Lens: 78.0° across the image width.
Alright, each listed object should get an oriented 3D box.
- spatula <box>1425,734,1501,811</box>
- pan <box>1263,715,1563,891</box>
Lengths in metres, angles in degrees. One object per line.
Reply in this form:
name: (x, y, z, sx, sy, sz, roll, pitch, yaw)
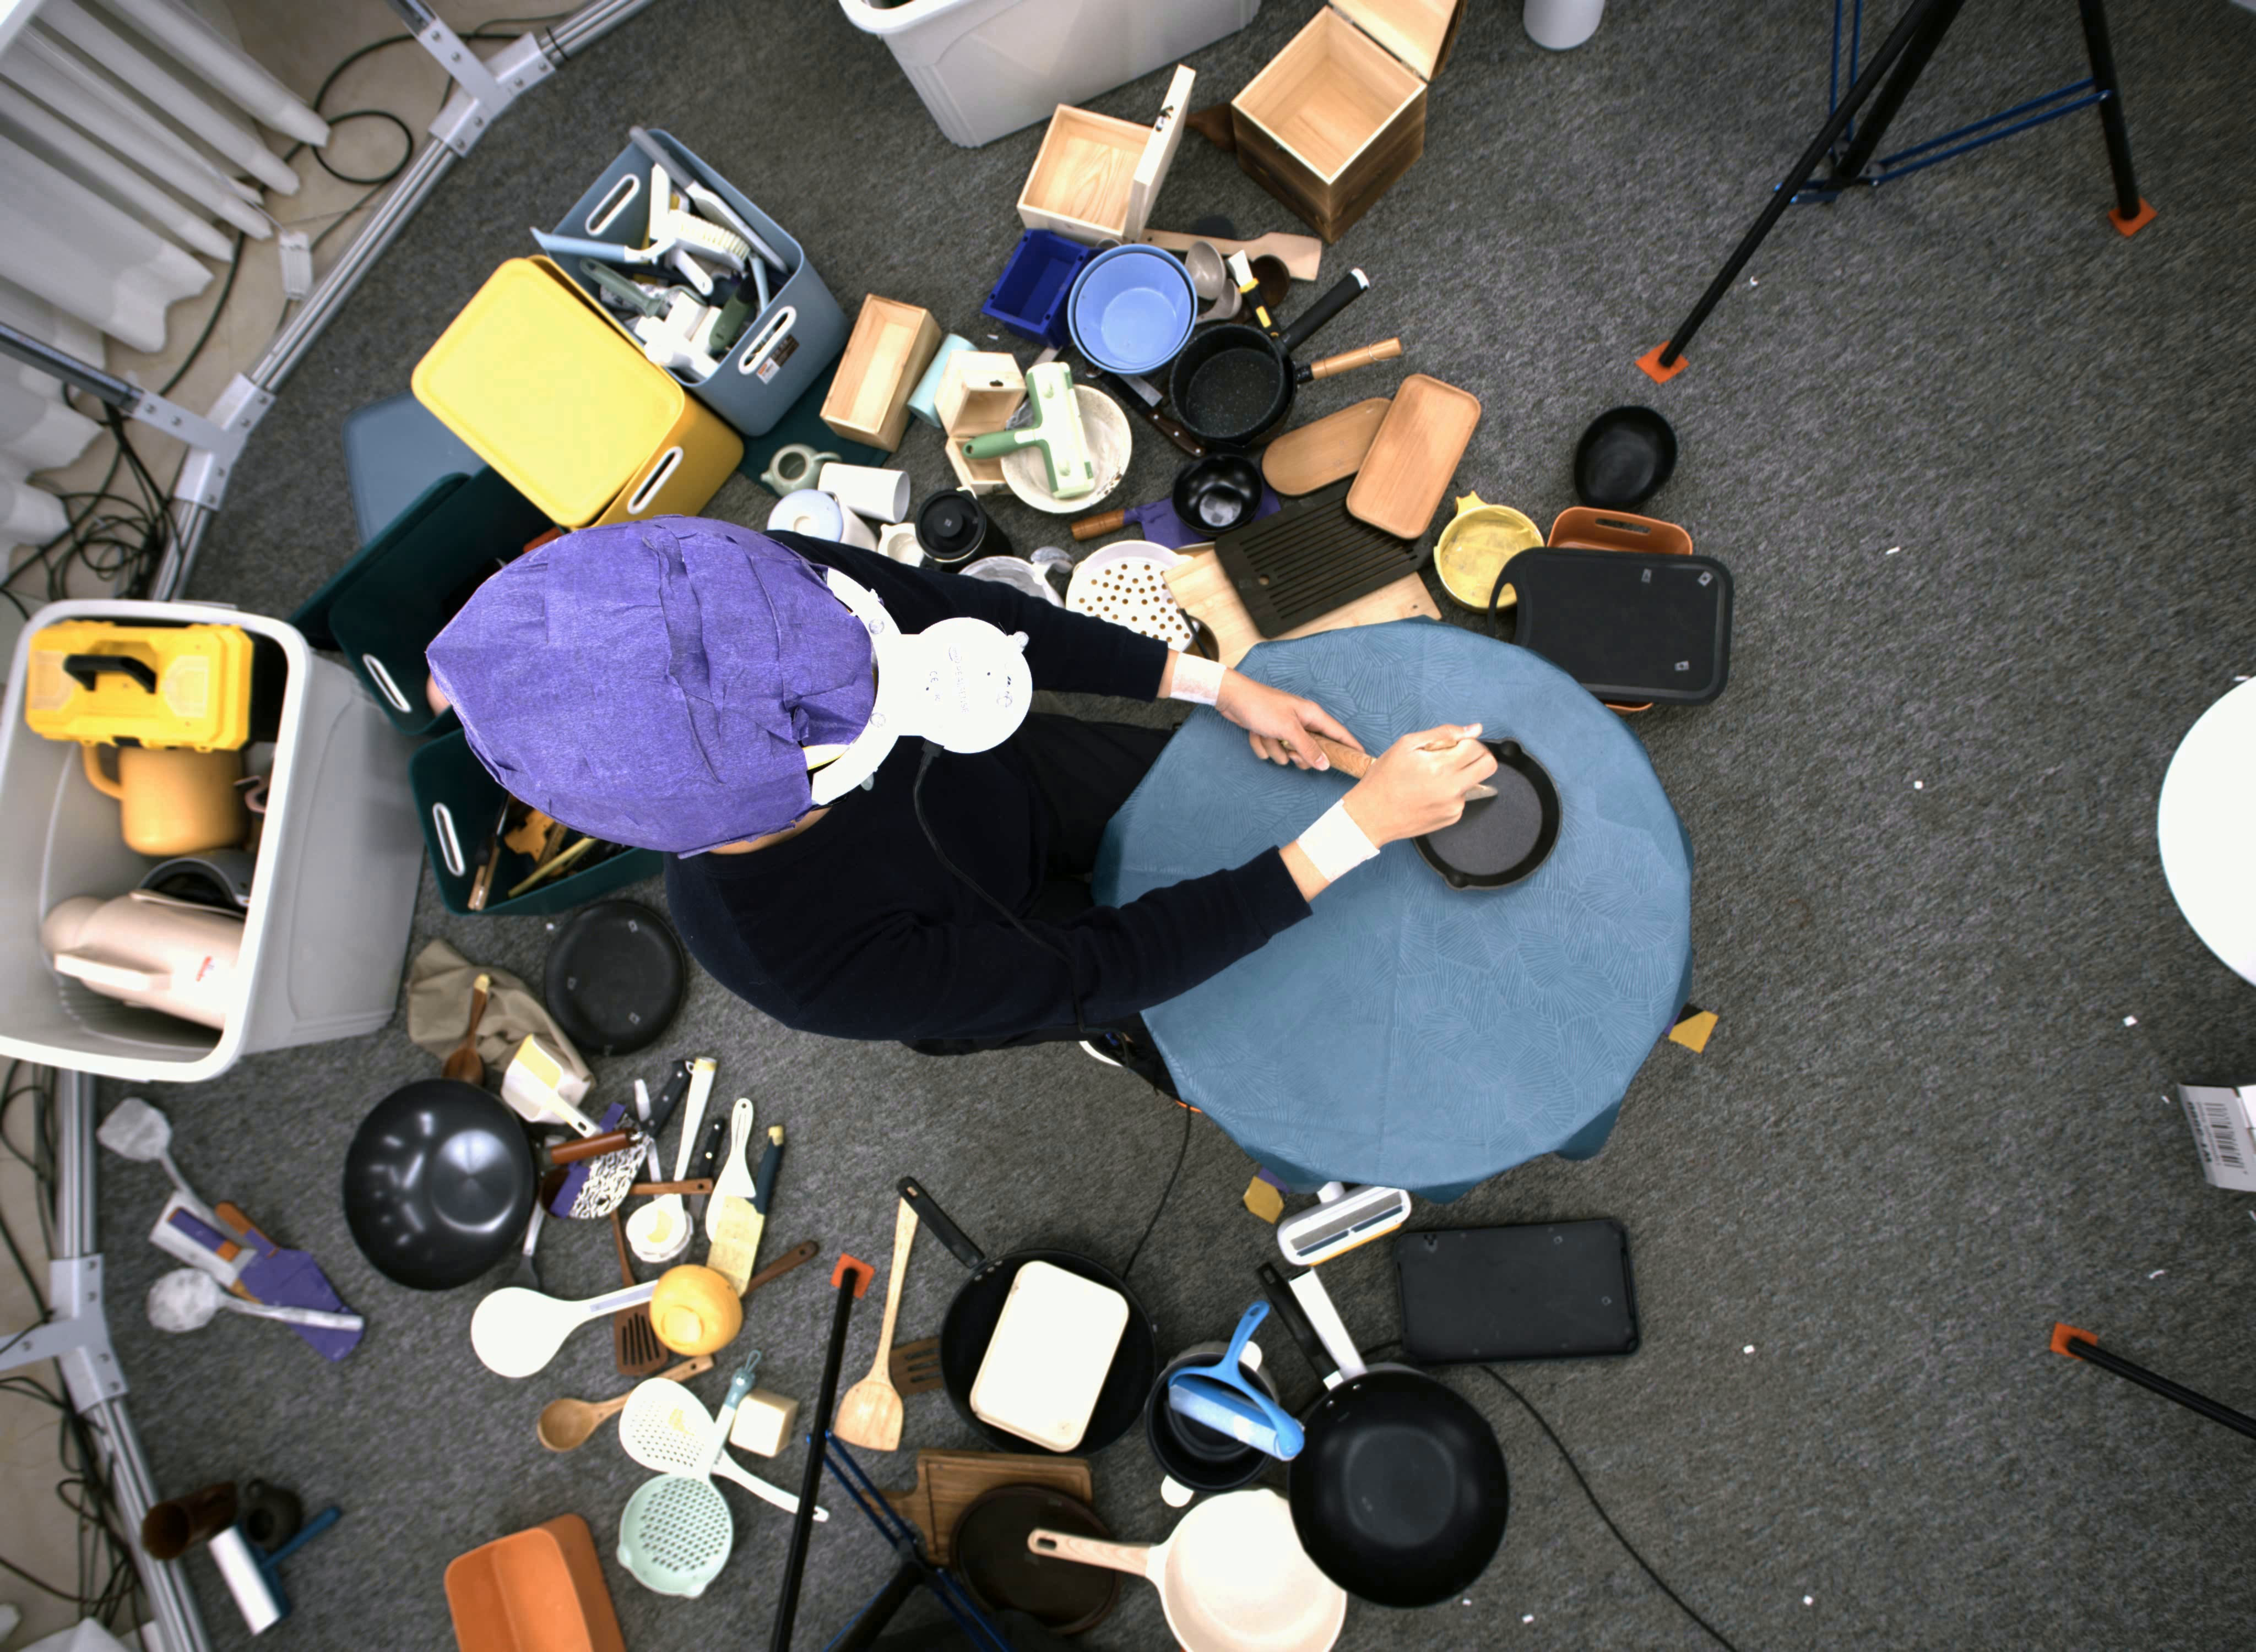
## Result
spatula: (0.307, -0.050, 1.296, 0.080, 0.328, 0.016, -15, 76, 15)
pan: (0.292, -0.047, 1.437, 0.324, 0.049, 0.169, 24, 91, 10)
